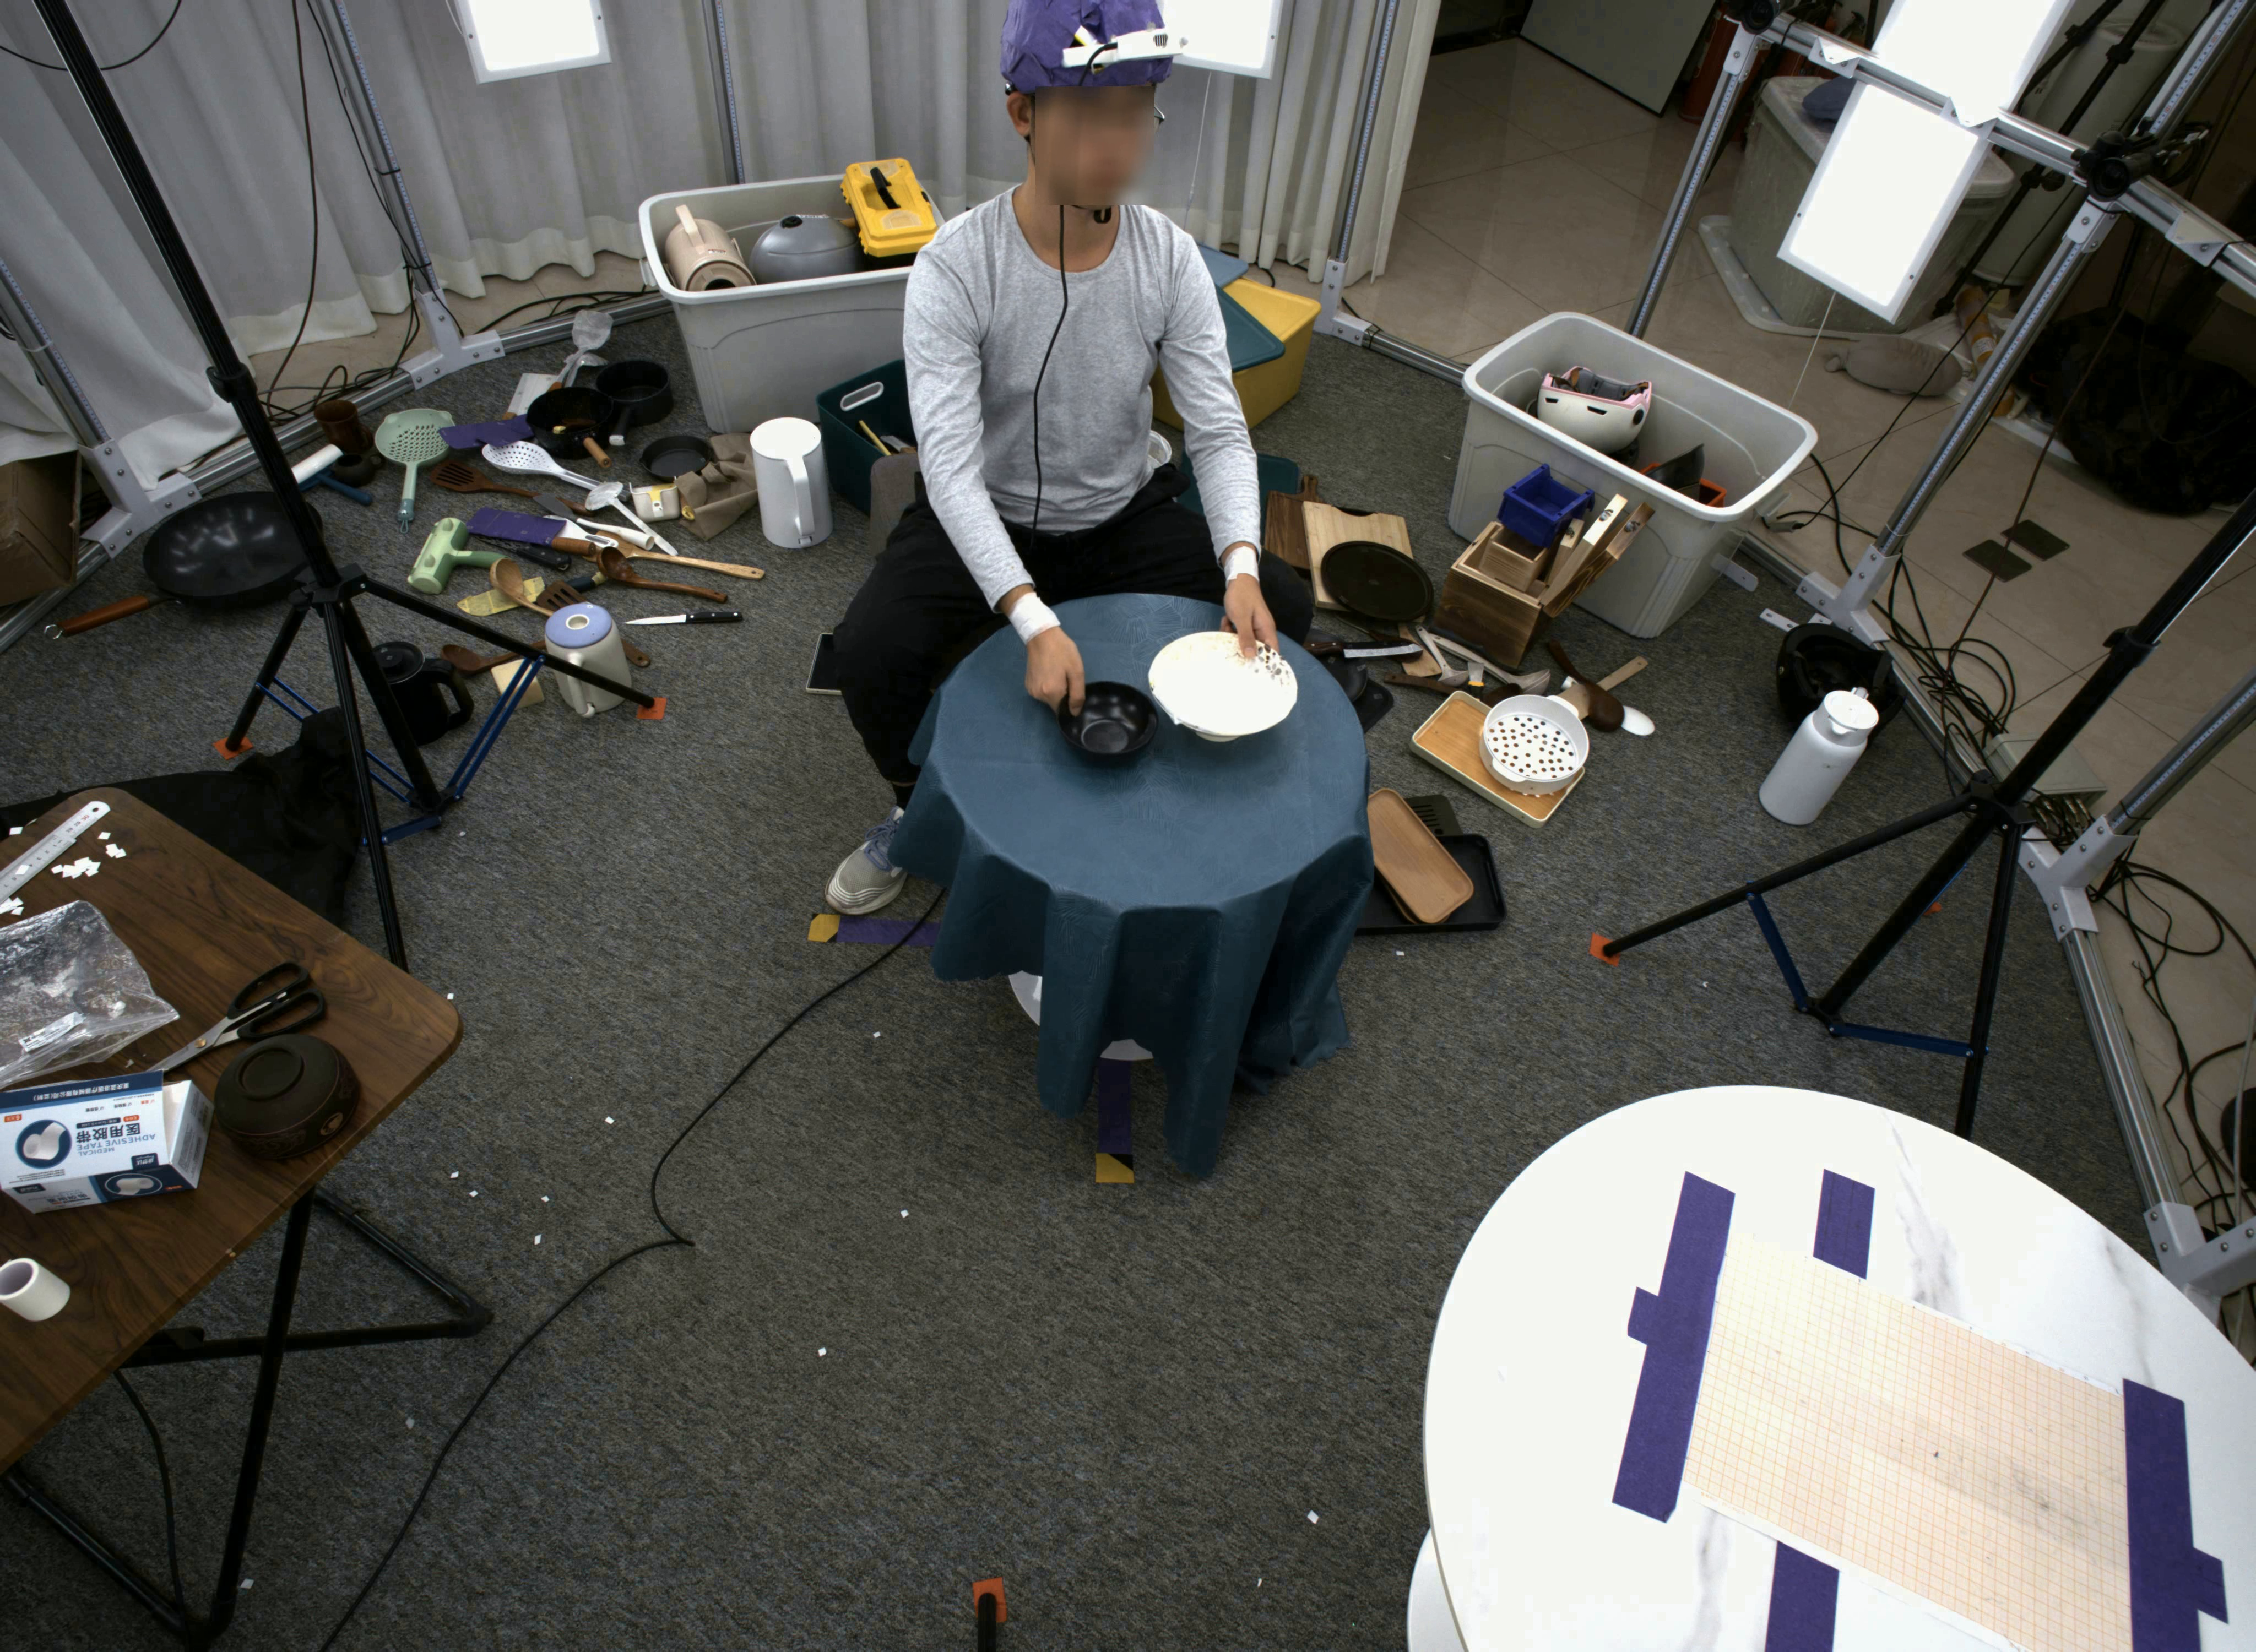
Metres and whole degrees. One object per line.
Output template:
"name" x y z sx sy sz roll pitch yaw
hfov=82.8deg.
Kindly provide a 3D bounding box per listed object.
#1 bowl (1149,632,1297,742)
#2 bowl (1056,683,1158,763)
"bowl" 0.127 -0.174 1.776 0.204 0.076 0.209 2 48 -3
"bowl" -0.030 -0.132 1.751 0.140 0.048 0.143 3 46 -3
